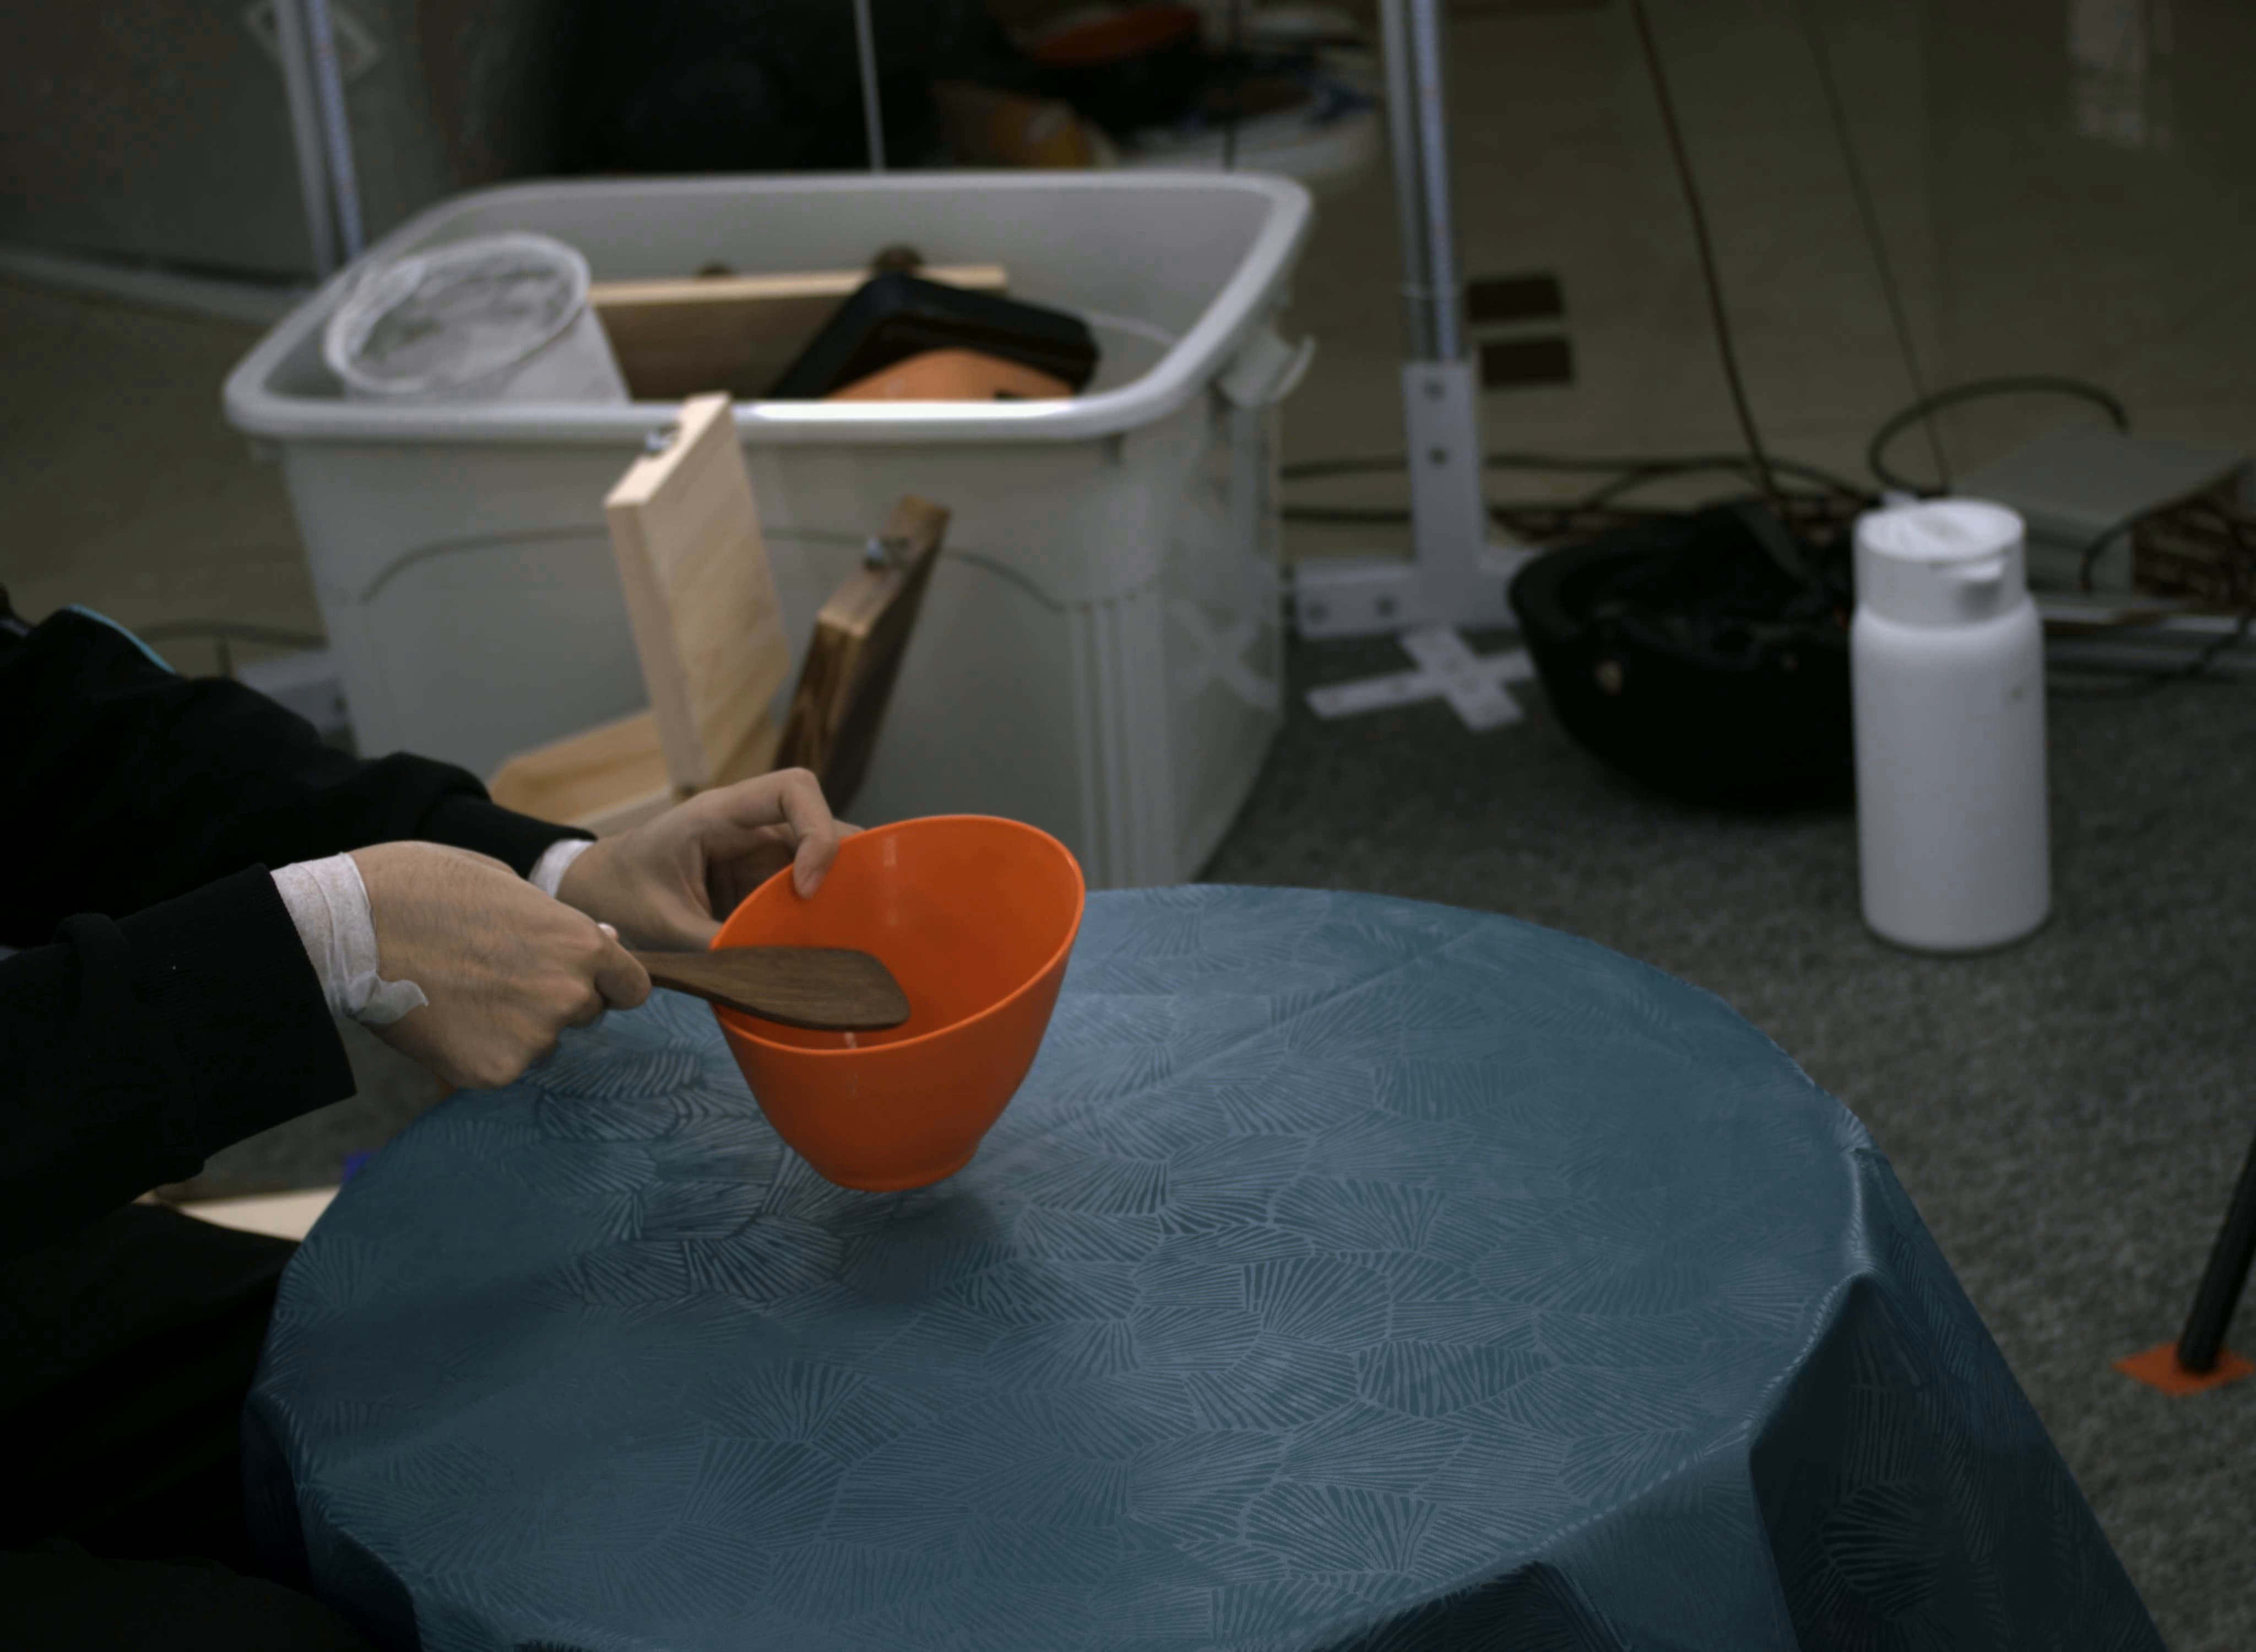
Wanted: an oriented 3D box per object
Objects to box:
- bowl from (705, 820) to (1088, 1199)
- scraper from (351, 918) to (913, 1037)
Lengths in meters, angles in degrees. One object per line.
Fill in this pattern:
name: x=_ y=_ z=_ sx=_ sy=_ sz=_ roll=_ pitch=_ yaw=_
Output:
bowl: x=-0.083 y=0.077 z=2.149 sx=0.148 sy=0.106 sz=0.145 roll=-5 pitch=31 yaw=3
scraper: x=-0.185 y=0.053 z=2.105 sx=0.211 sy=0.011 sz=0.075 roll=8 pitch=18 yaw=-19
